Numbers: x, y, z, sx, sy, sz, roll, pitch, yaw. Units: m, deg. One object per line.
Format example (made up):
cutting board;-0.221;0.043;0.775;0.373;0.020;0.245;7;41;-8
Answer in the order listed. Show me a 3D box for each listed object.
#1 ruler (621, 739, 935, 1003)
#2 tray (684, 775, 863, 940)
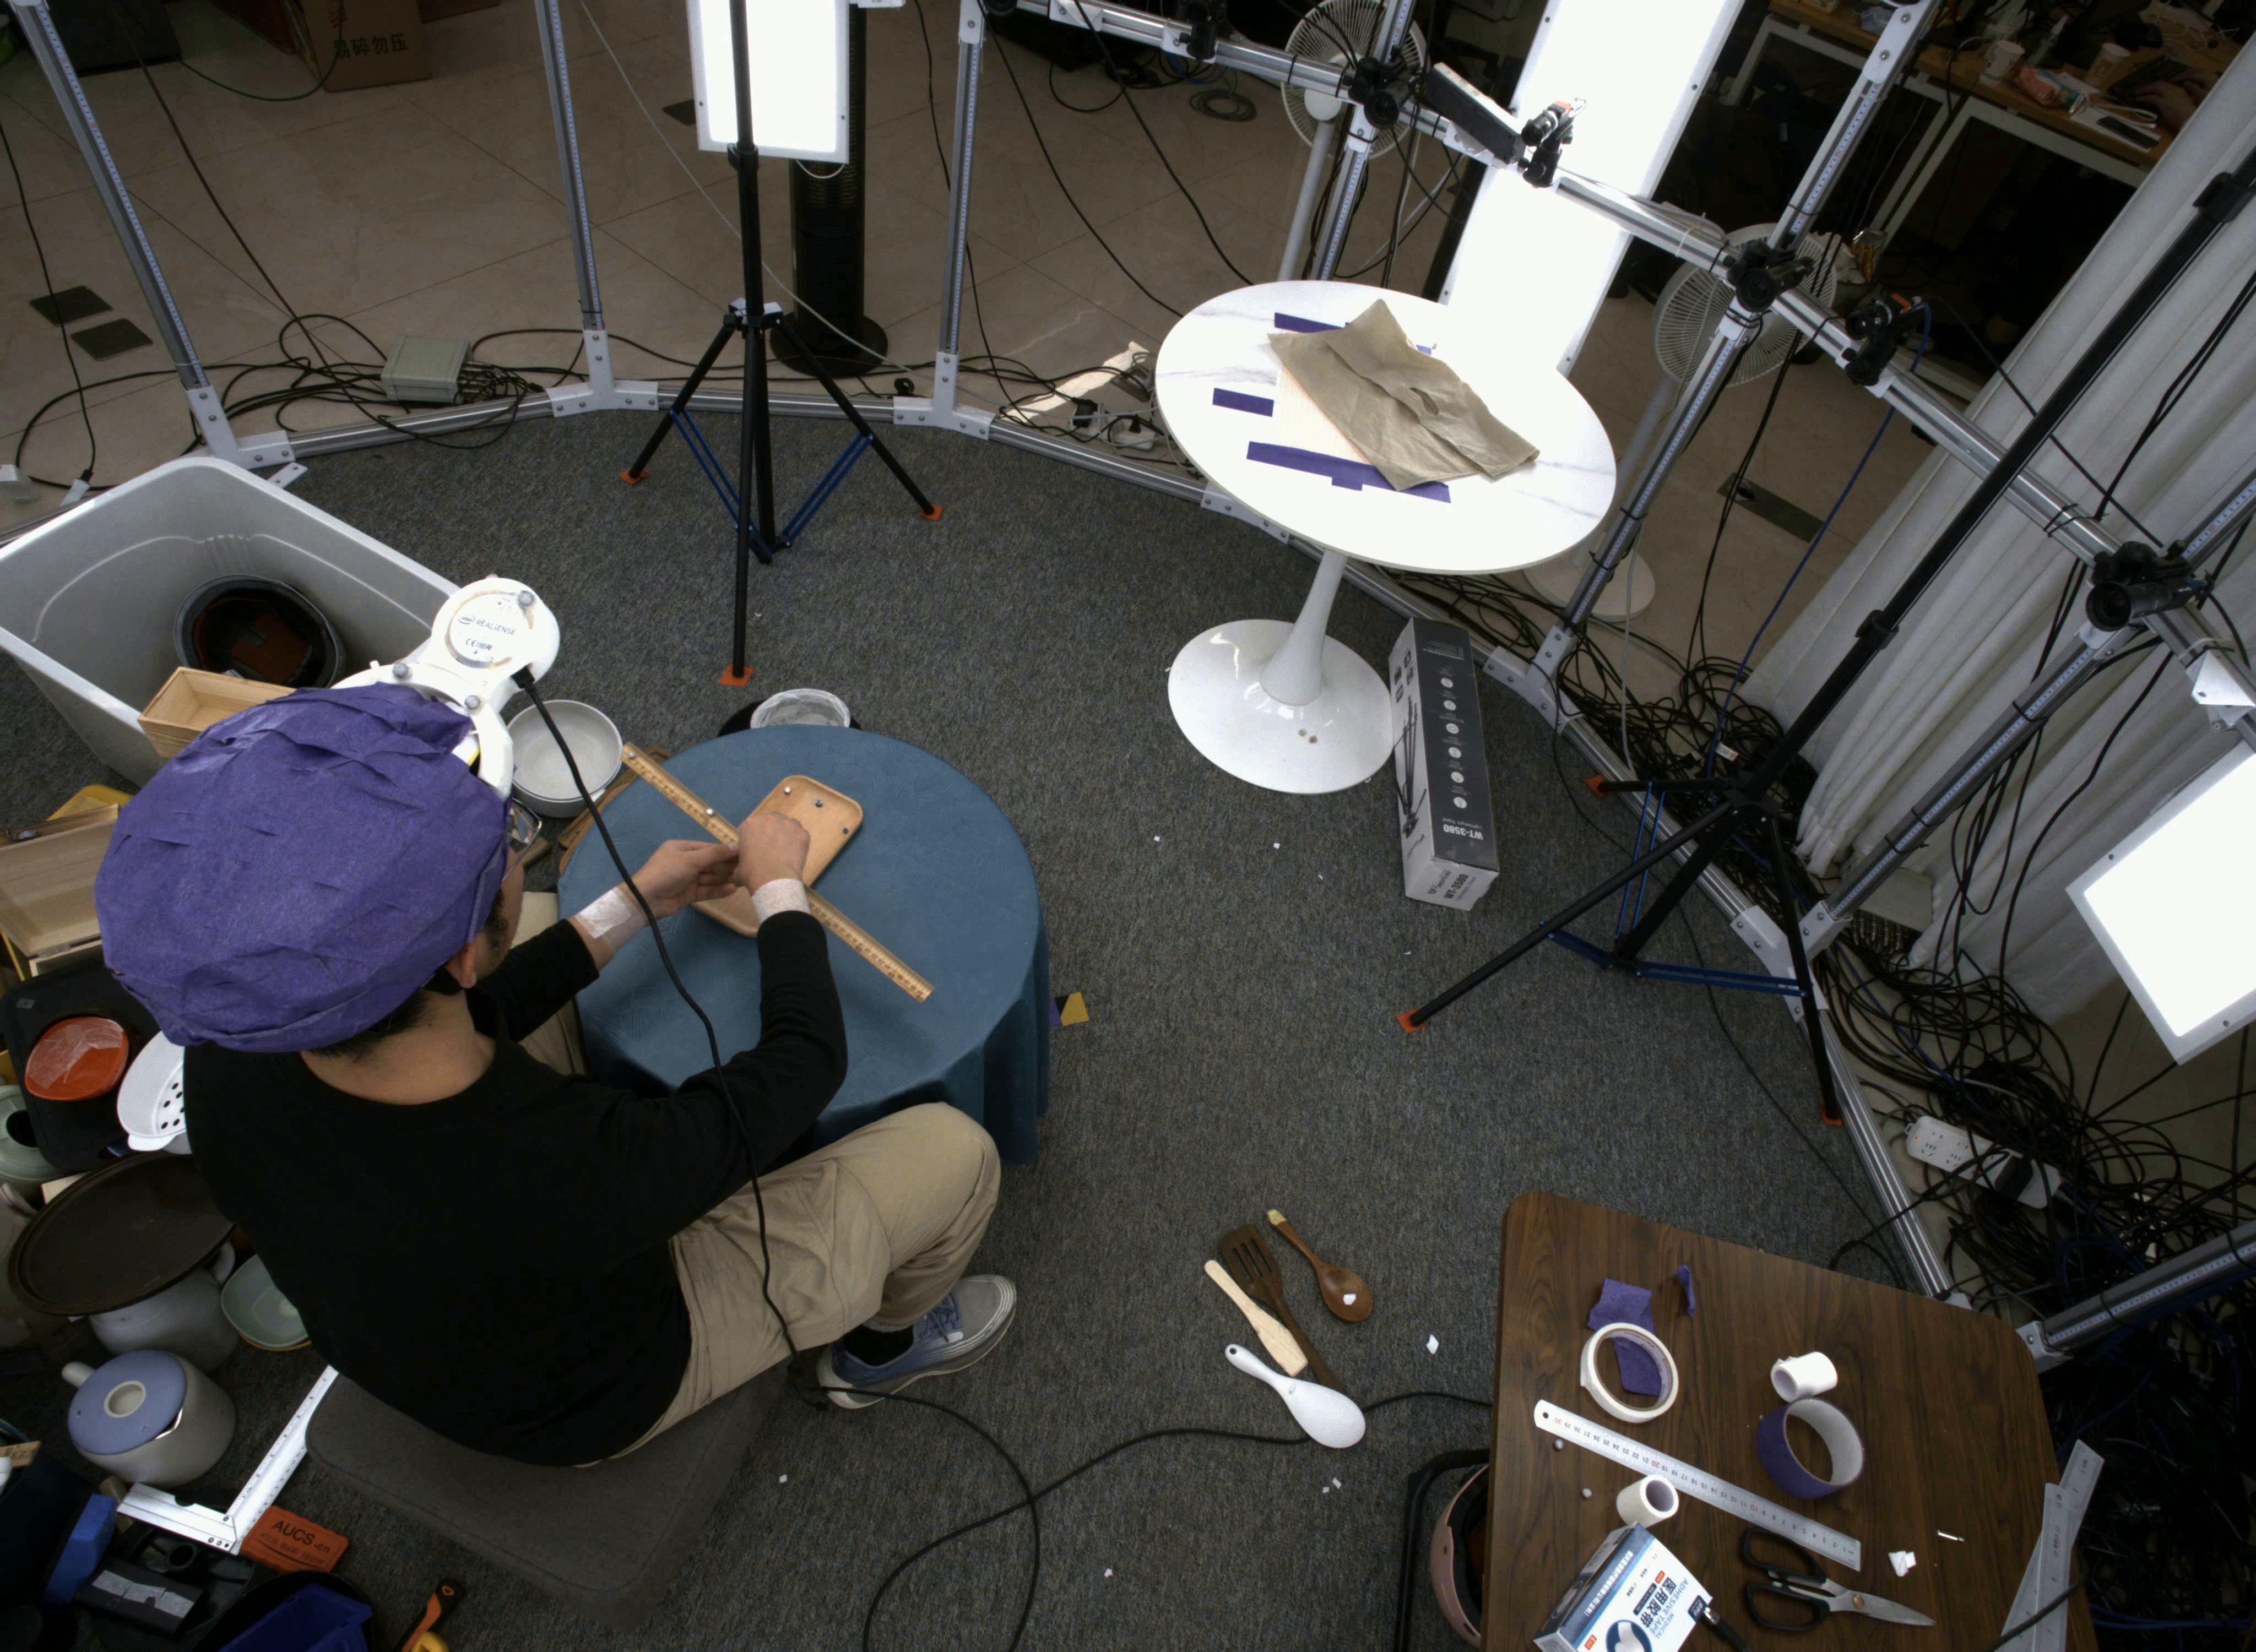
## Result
ruler;-0.428;0.048;1.551;0.494;0.006;0.027;37;69;7
tray;-0.455;0.036;1.673;0.128;0.023;0.249;27;53;9
